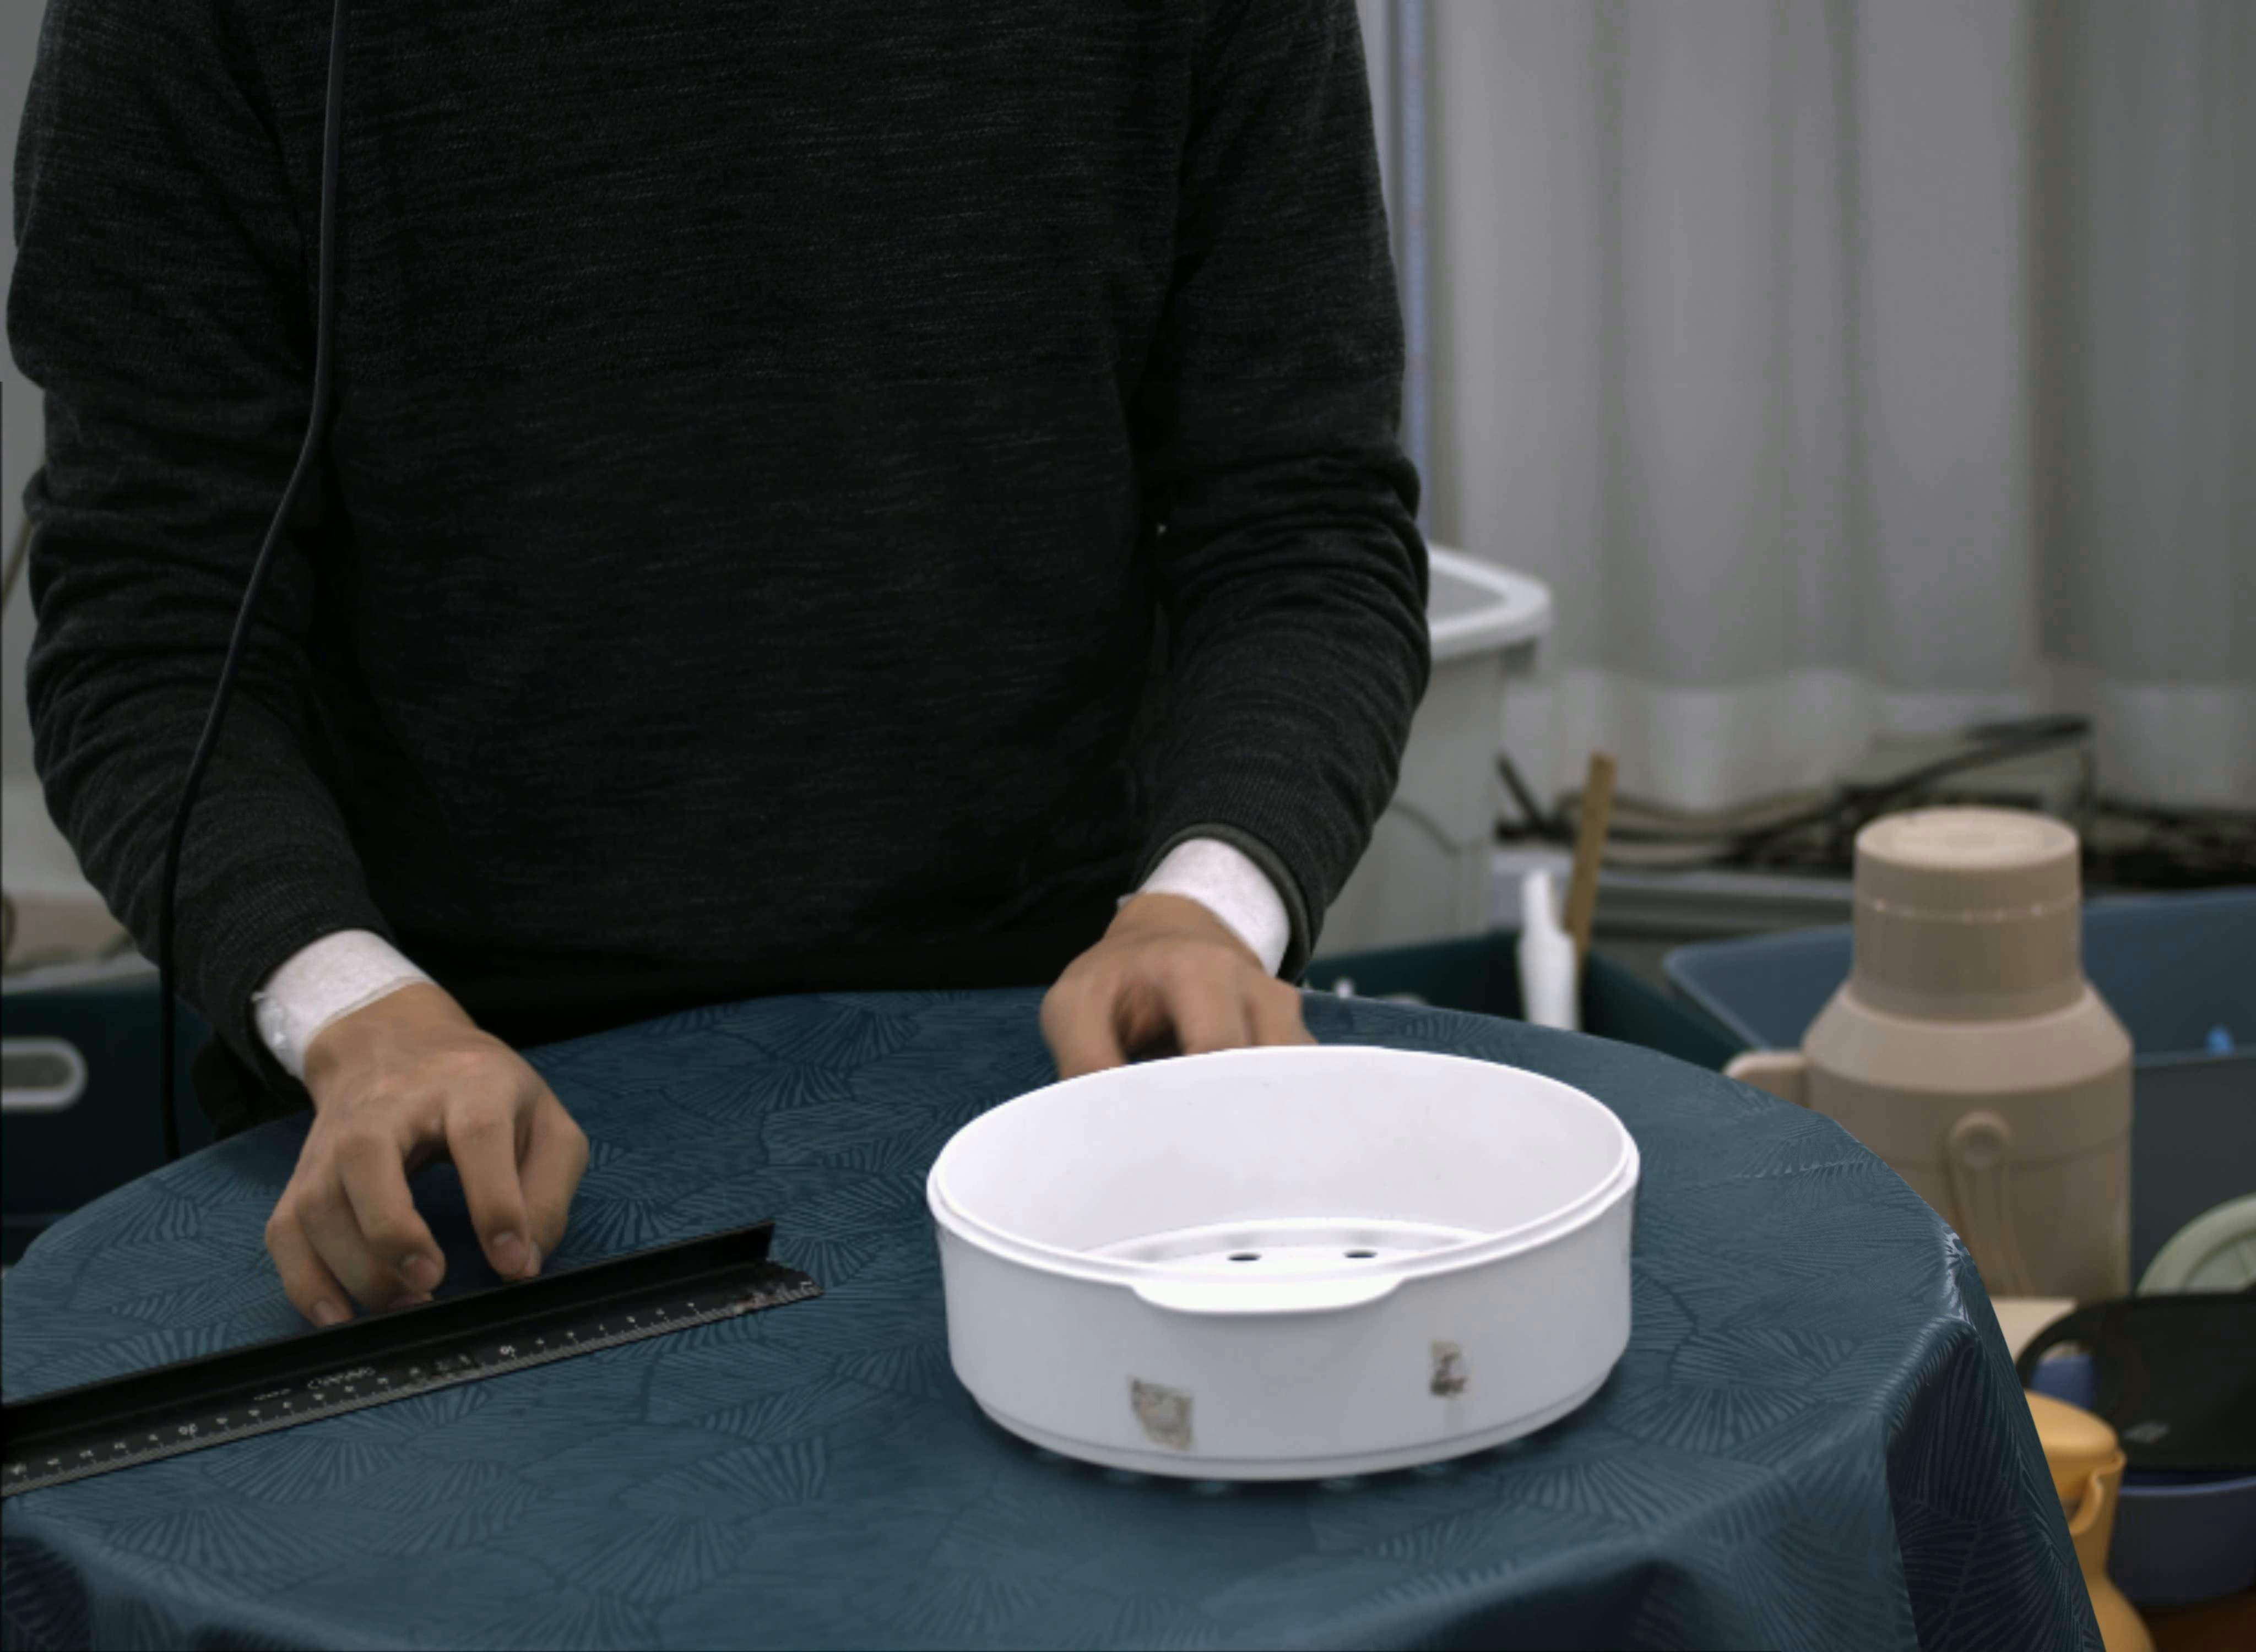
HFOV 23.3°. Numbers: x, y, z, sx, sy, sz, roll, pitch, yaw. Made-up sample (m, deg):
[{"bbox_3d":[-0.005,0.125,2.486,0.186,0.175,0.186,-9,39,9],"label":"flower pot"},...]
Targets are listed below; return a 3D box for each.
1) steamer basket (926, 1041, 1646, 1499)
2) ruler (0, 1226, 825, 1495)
[{"bbox_3d":[0.045,0.124,1.536,0.201,0.069,0.232,-2,17,5],"label":"steamer basket"},{"bbox_3d":[-0.232,0.157,1.570,0.311,0.017,0.039,-11,19,-29],"label":"ruler"}]
